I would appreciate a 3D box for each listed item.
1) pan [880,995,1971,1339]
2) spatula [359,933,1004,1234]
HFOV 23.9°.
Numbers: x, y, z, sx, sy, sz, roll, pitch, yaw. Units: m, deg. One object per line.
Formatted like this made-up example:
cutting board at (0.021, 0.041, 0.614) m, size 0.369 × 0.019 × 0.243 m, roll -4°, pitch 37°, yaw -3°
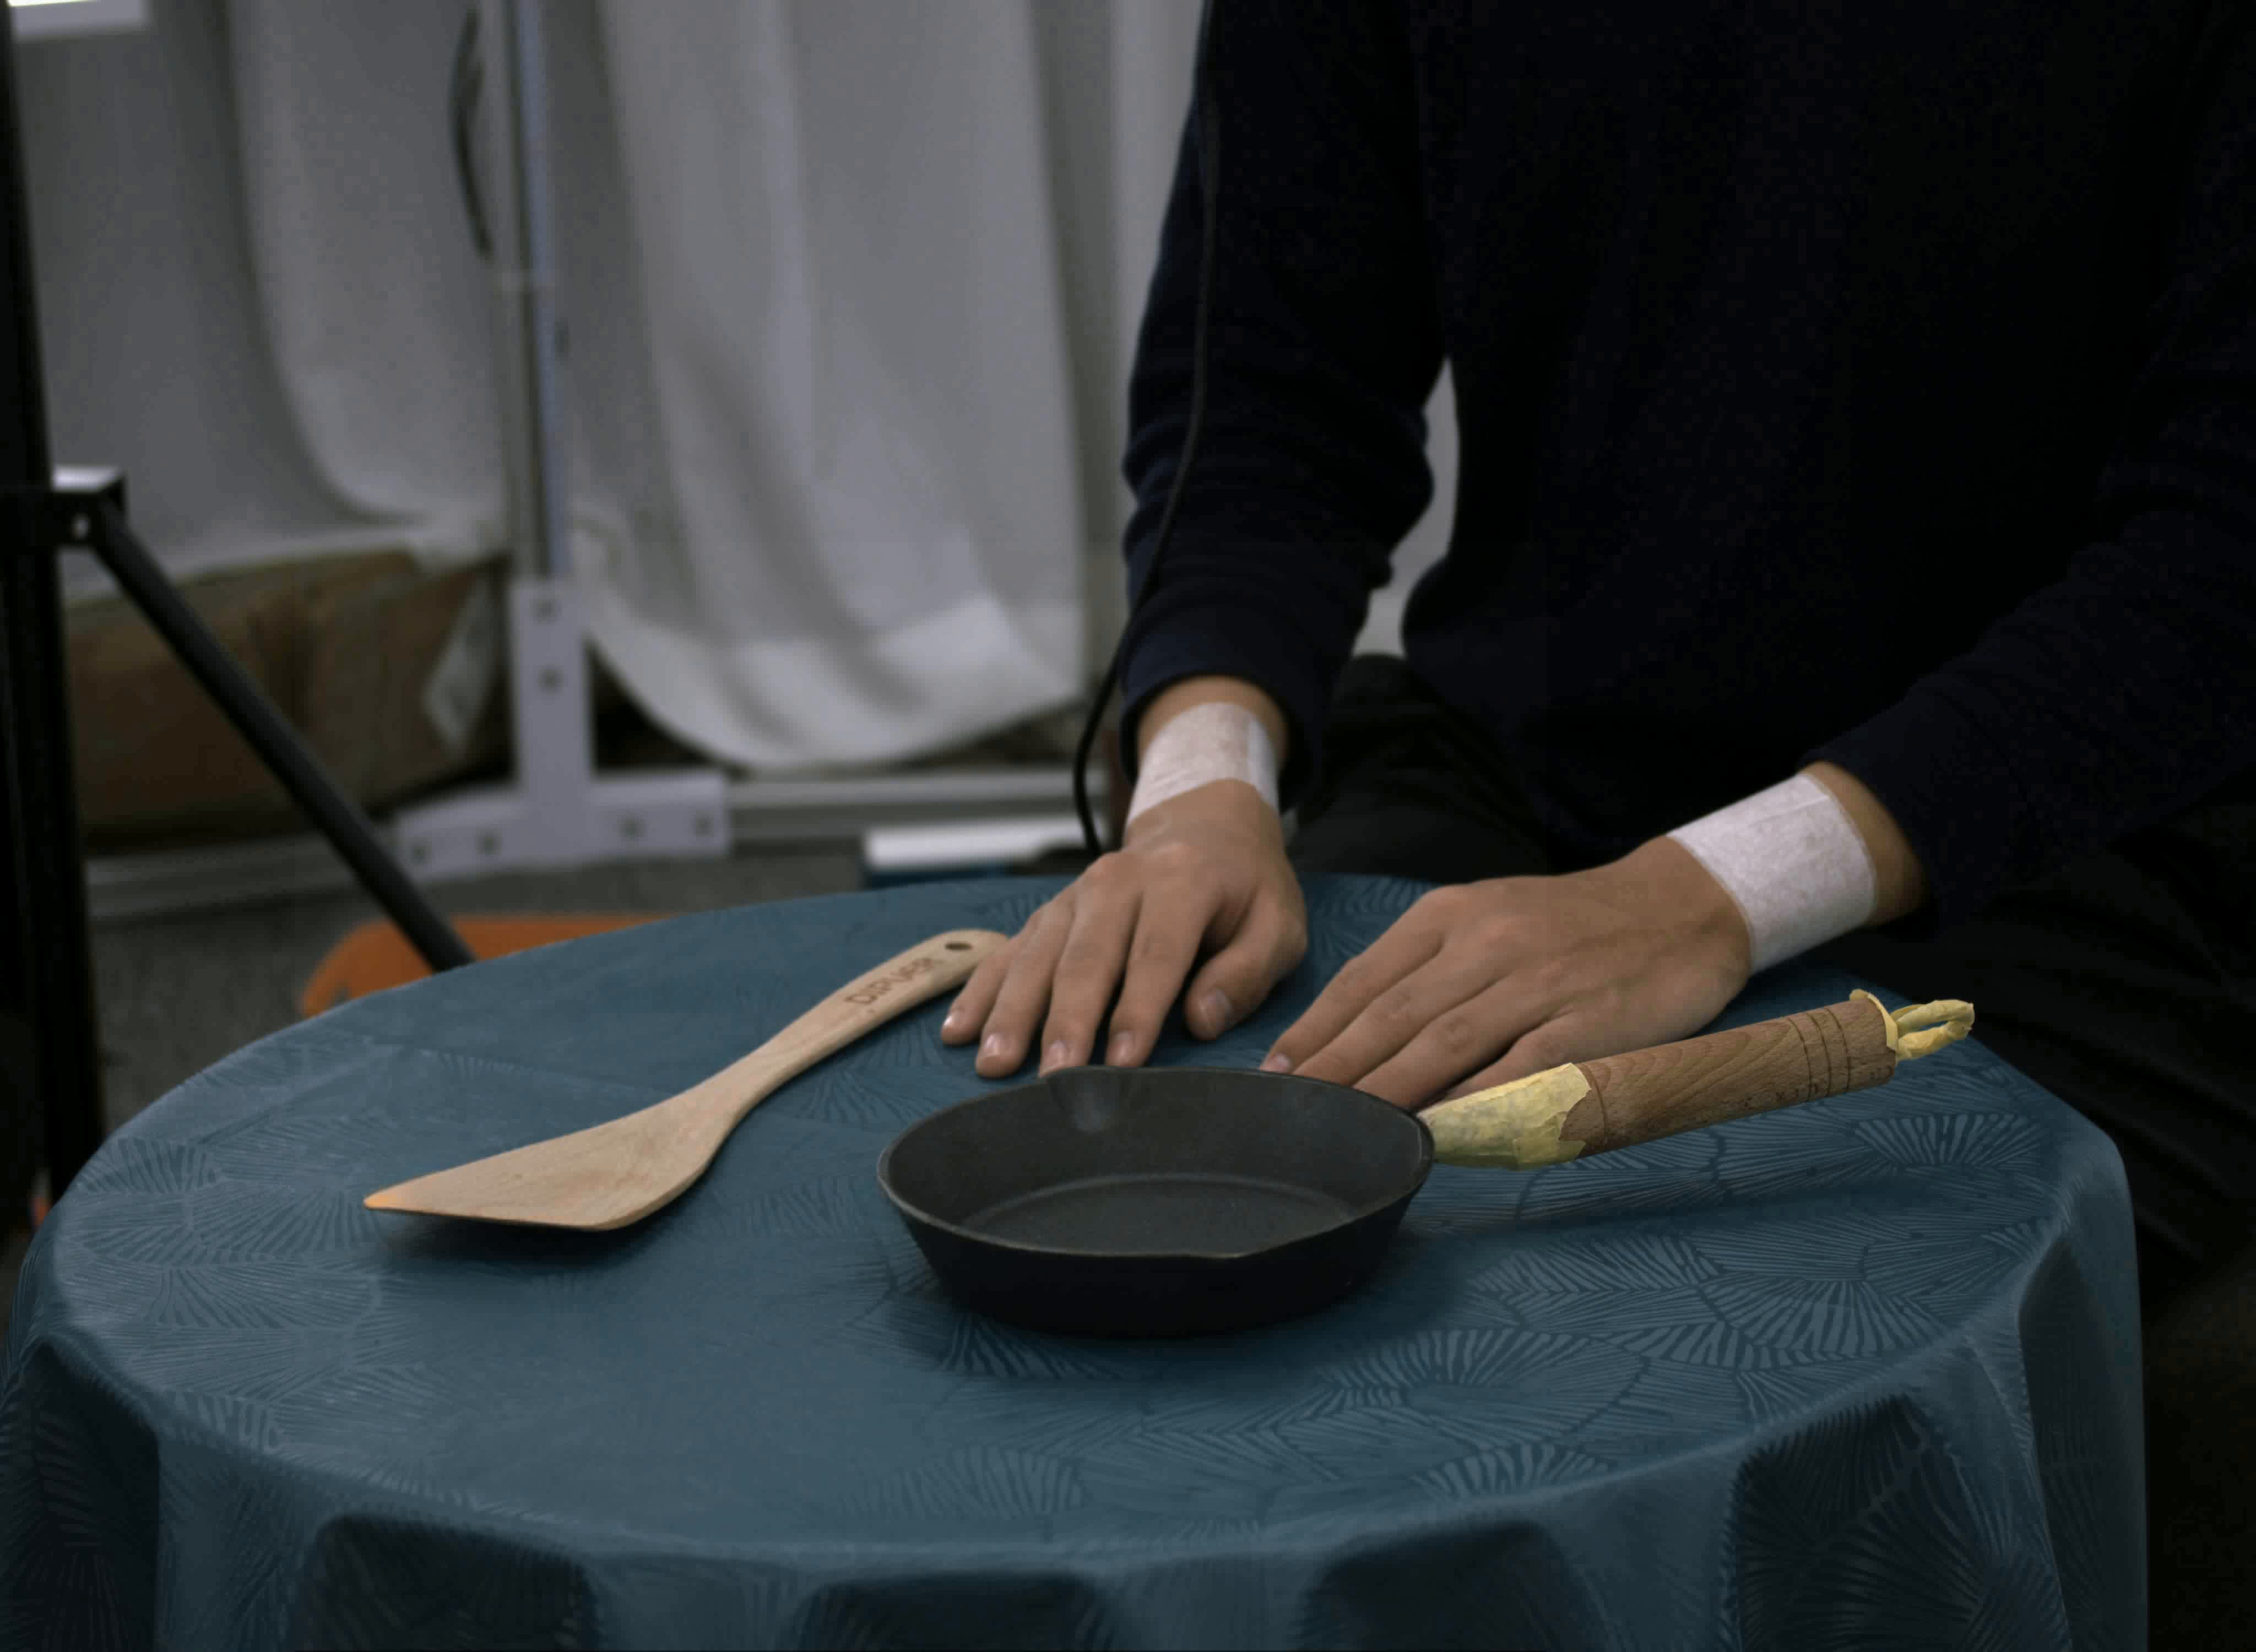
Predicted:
pan at (0.090, 0.091, 1.508) m, size 0.320 × 0.049 × 0.171 m, roll -7°, pitch 16°, yaw -10°
spatula at (-0.119, 0.077, 1.658) m, size 0.081 × 0.016 × 0.322 m, roll 6°, pitch 18°, yaw 26°
